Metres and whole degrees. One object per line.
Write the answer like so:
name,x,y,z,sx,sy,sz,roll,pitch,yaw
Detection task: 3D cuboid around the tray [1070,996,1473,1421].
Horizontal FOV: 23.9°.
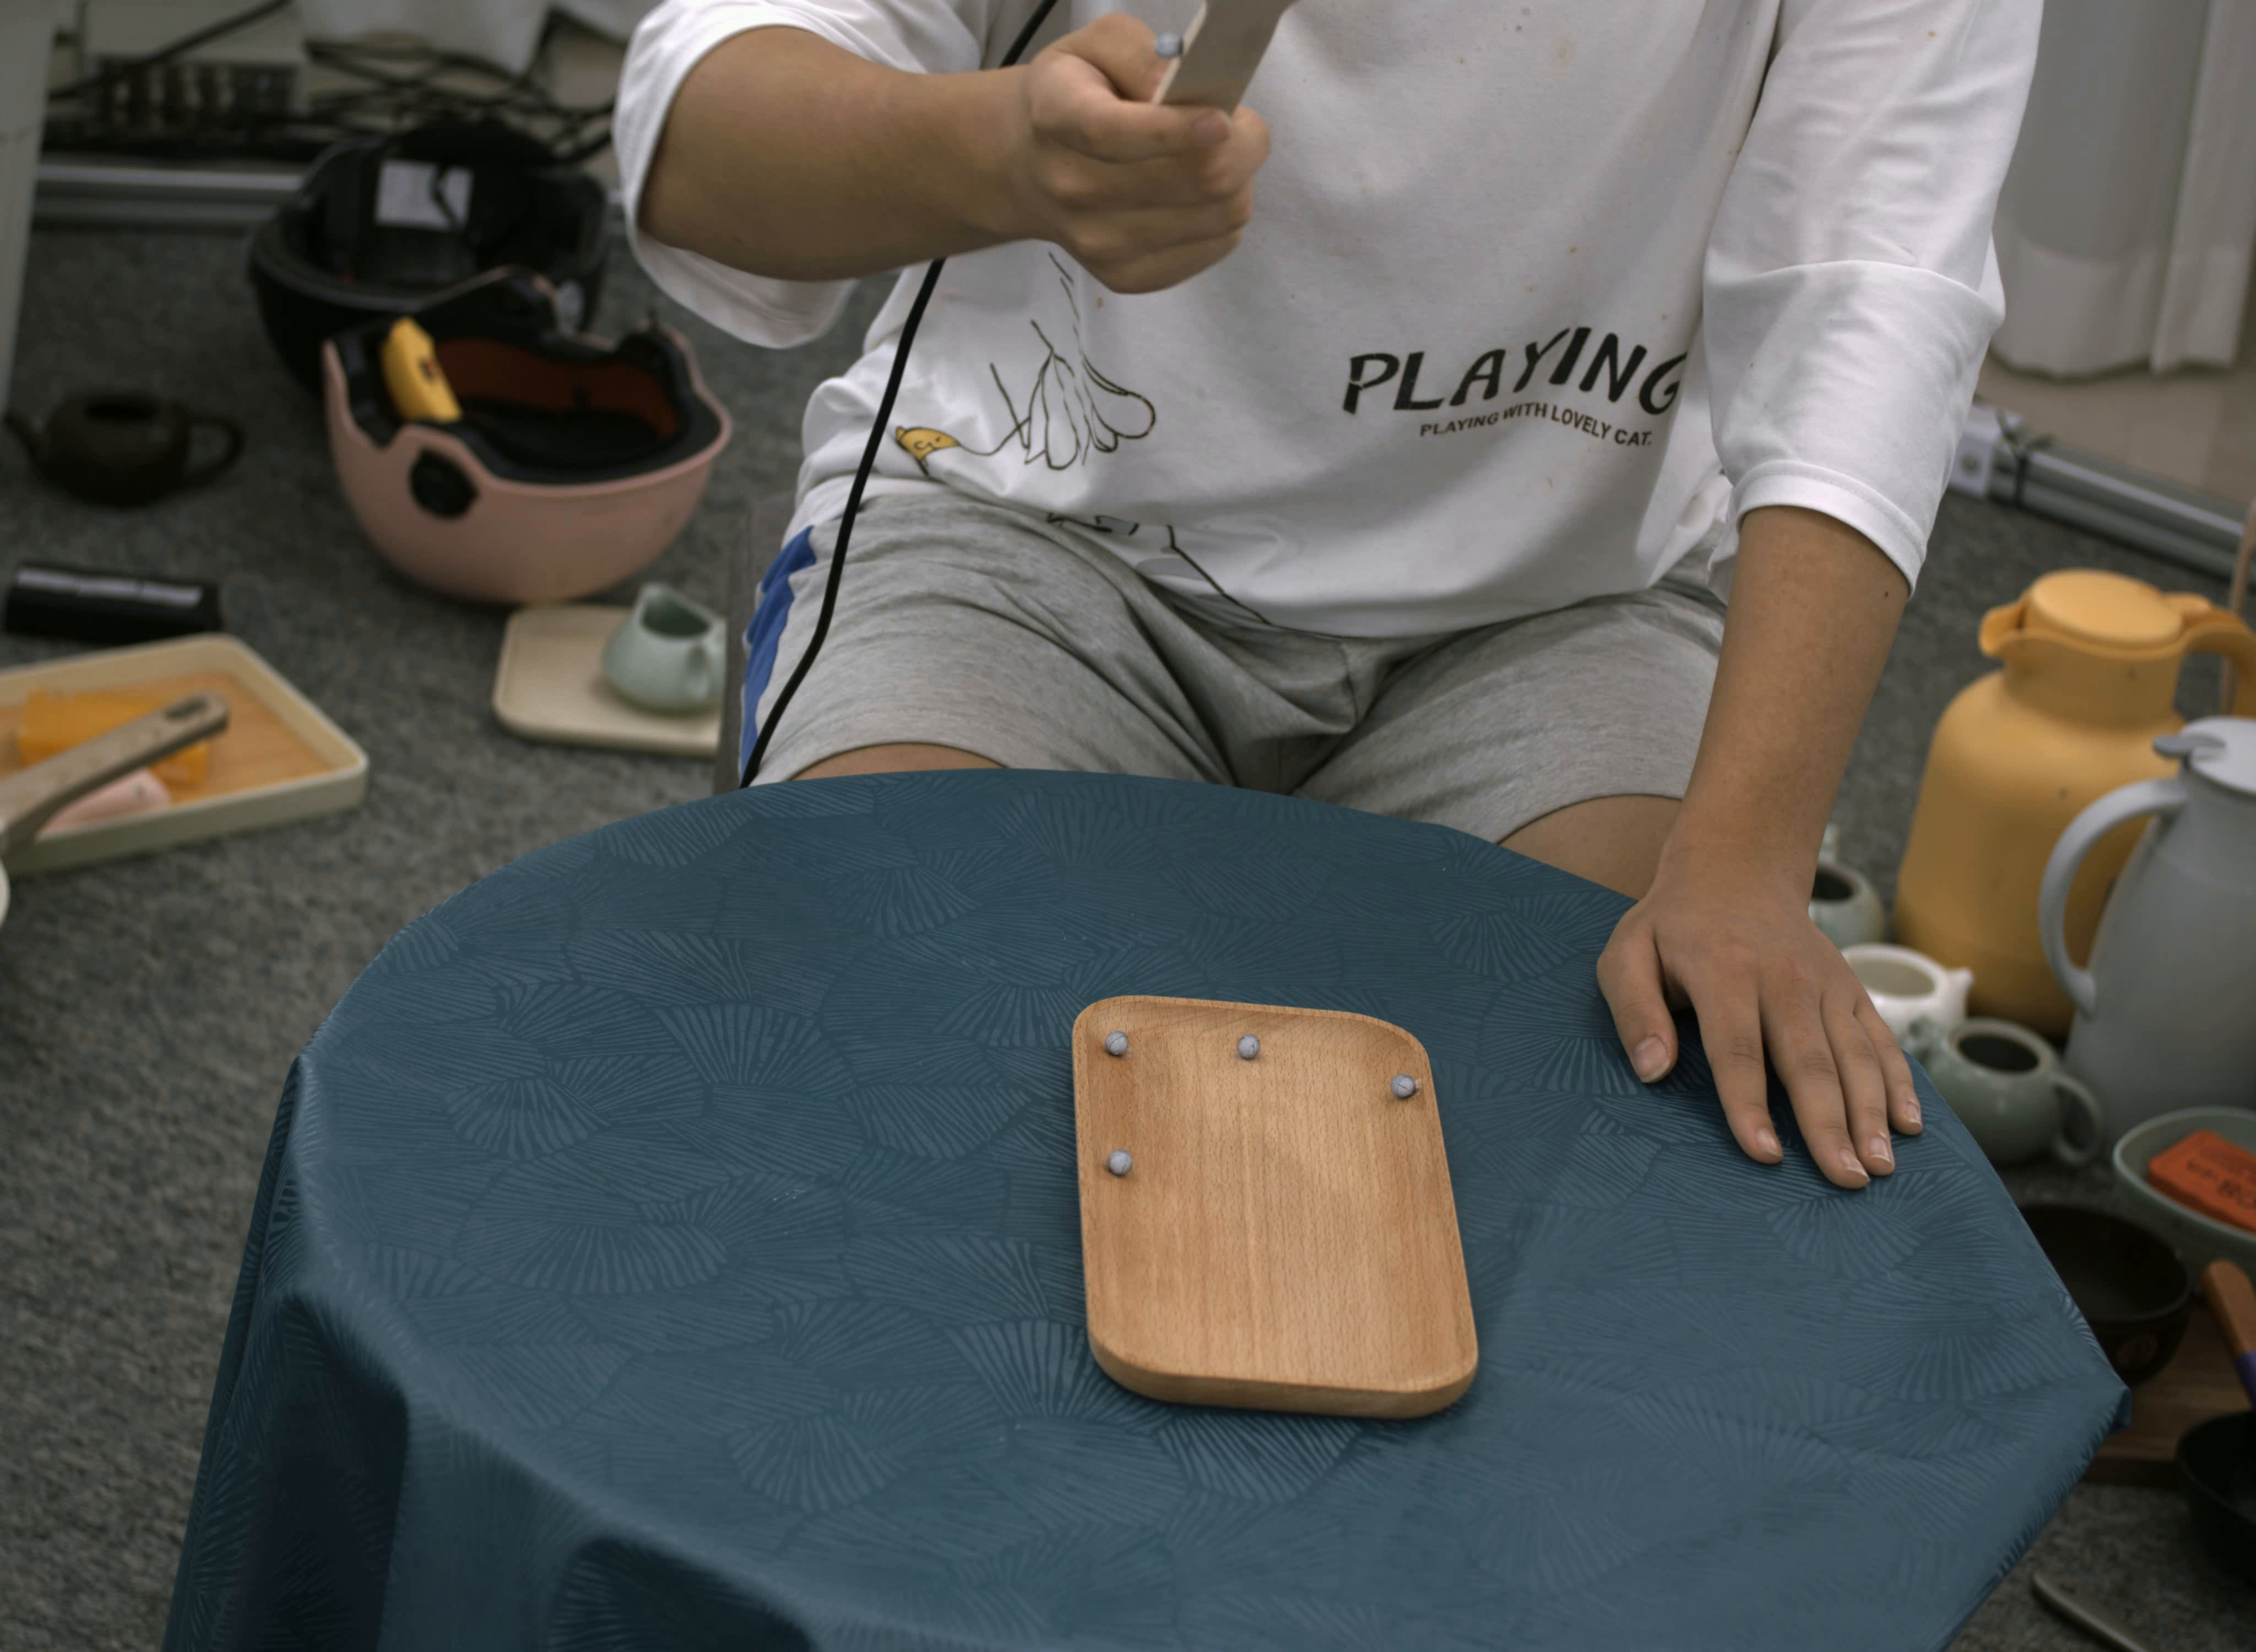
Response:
tray,0.045,0.126,1.794,0.130,0.023,0.252,3,27,-2

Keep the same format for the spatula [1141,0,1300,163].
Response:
spatula,0.033,-0.248,1.648,0.072,0.011,0.293,0,-9,-7
